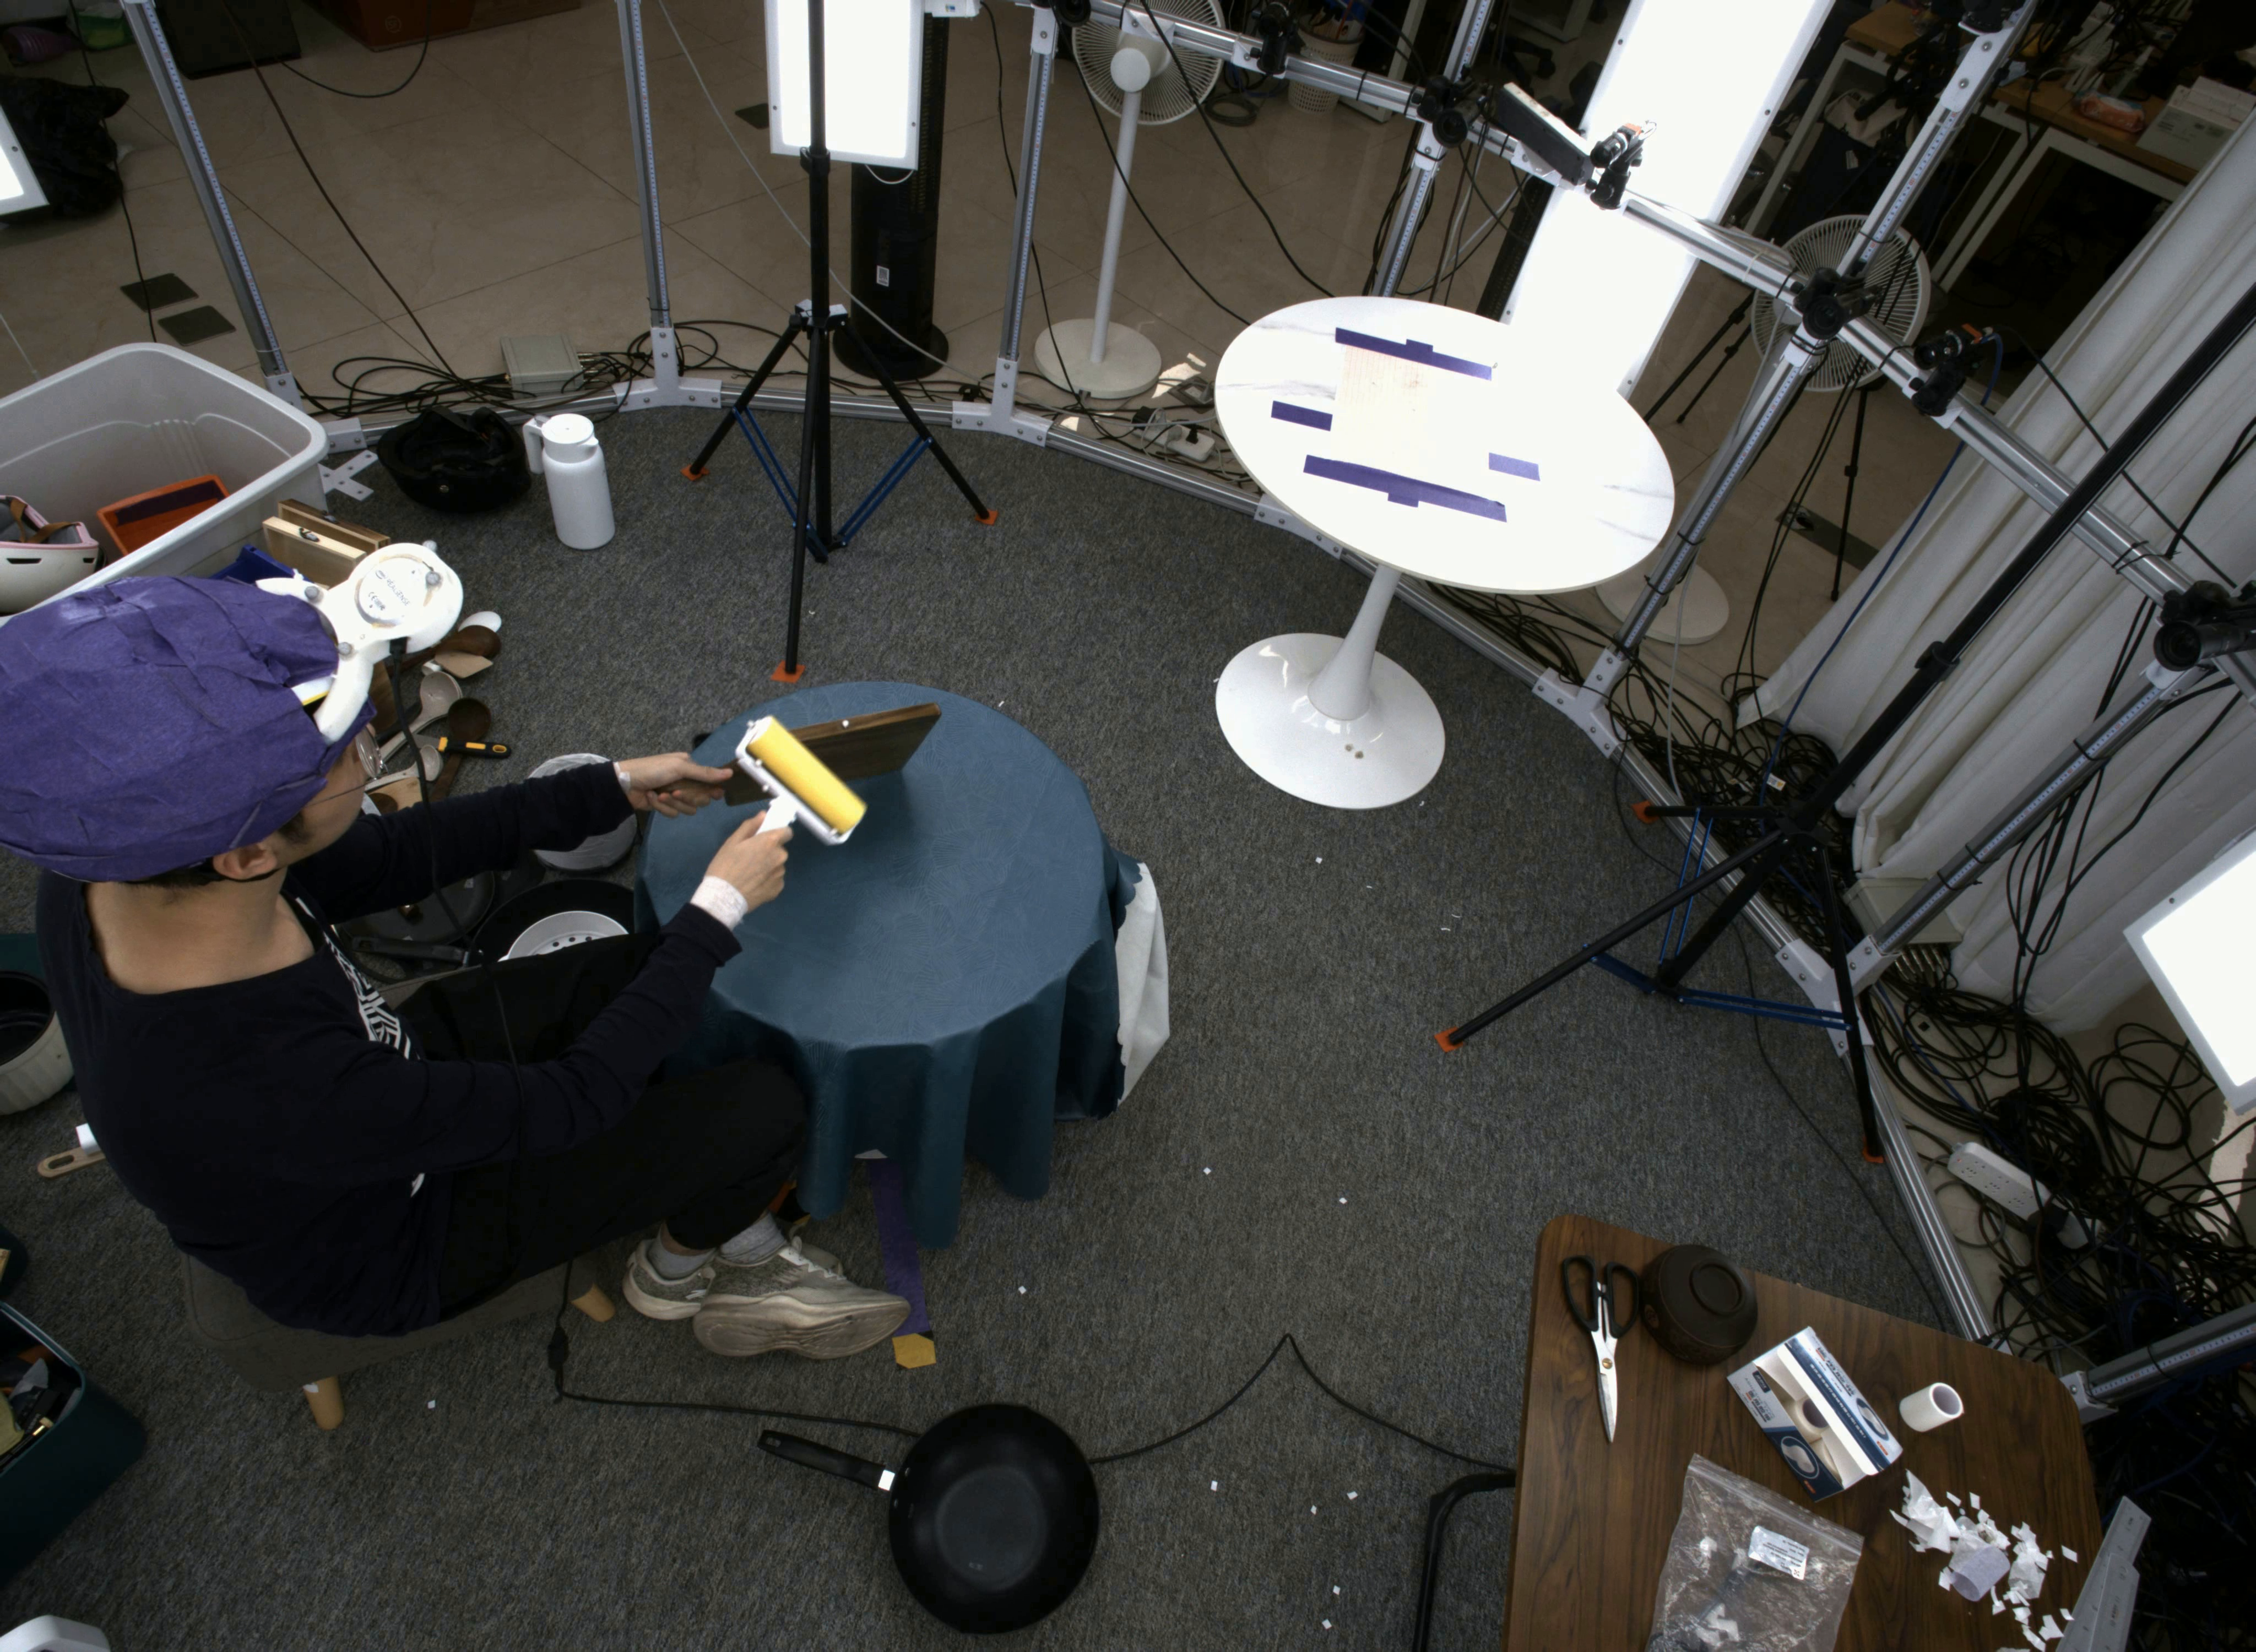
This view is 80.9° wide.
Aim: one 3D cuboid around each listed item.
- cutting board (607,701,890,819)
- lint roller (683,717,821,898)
[{"bbox_3d":[-0.483,-0.072,1.624,0.355,0.200,0.023,-19,78,-33],"label":"cutting board"},{"bbox_3d":[-0.452,-0.004,1.480,0.180,0.050,0.189,43,42,-32],"label":"lint roller"}]
